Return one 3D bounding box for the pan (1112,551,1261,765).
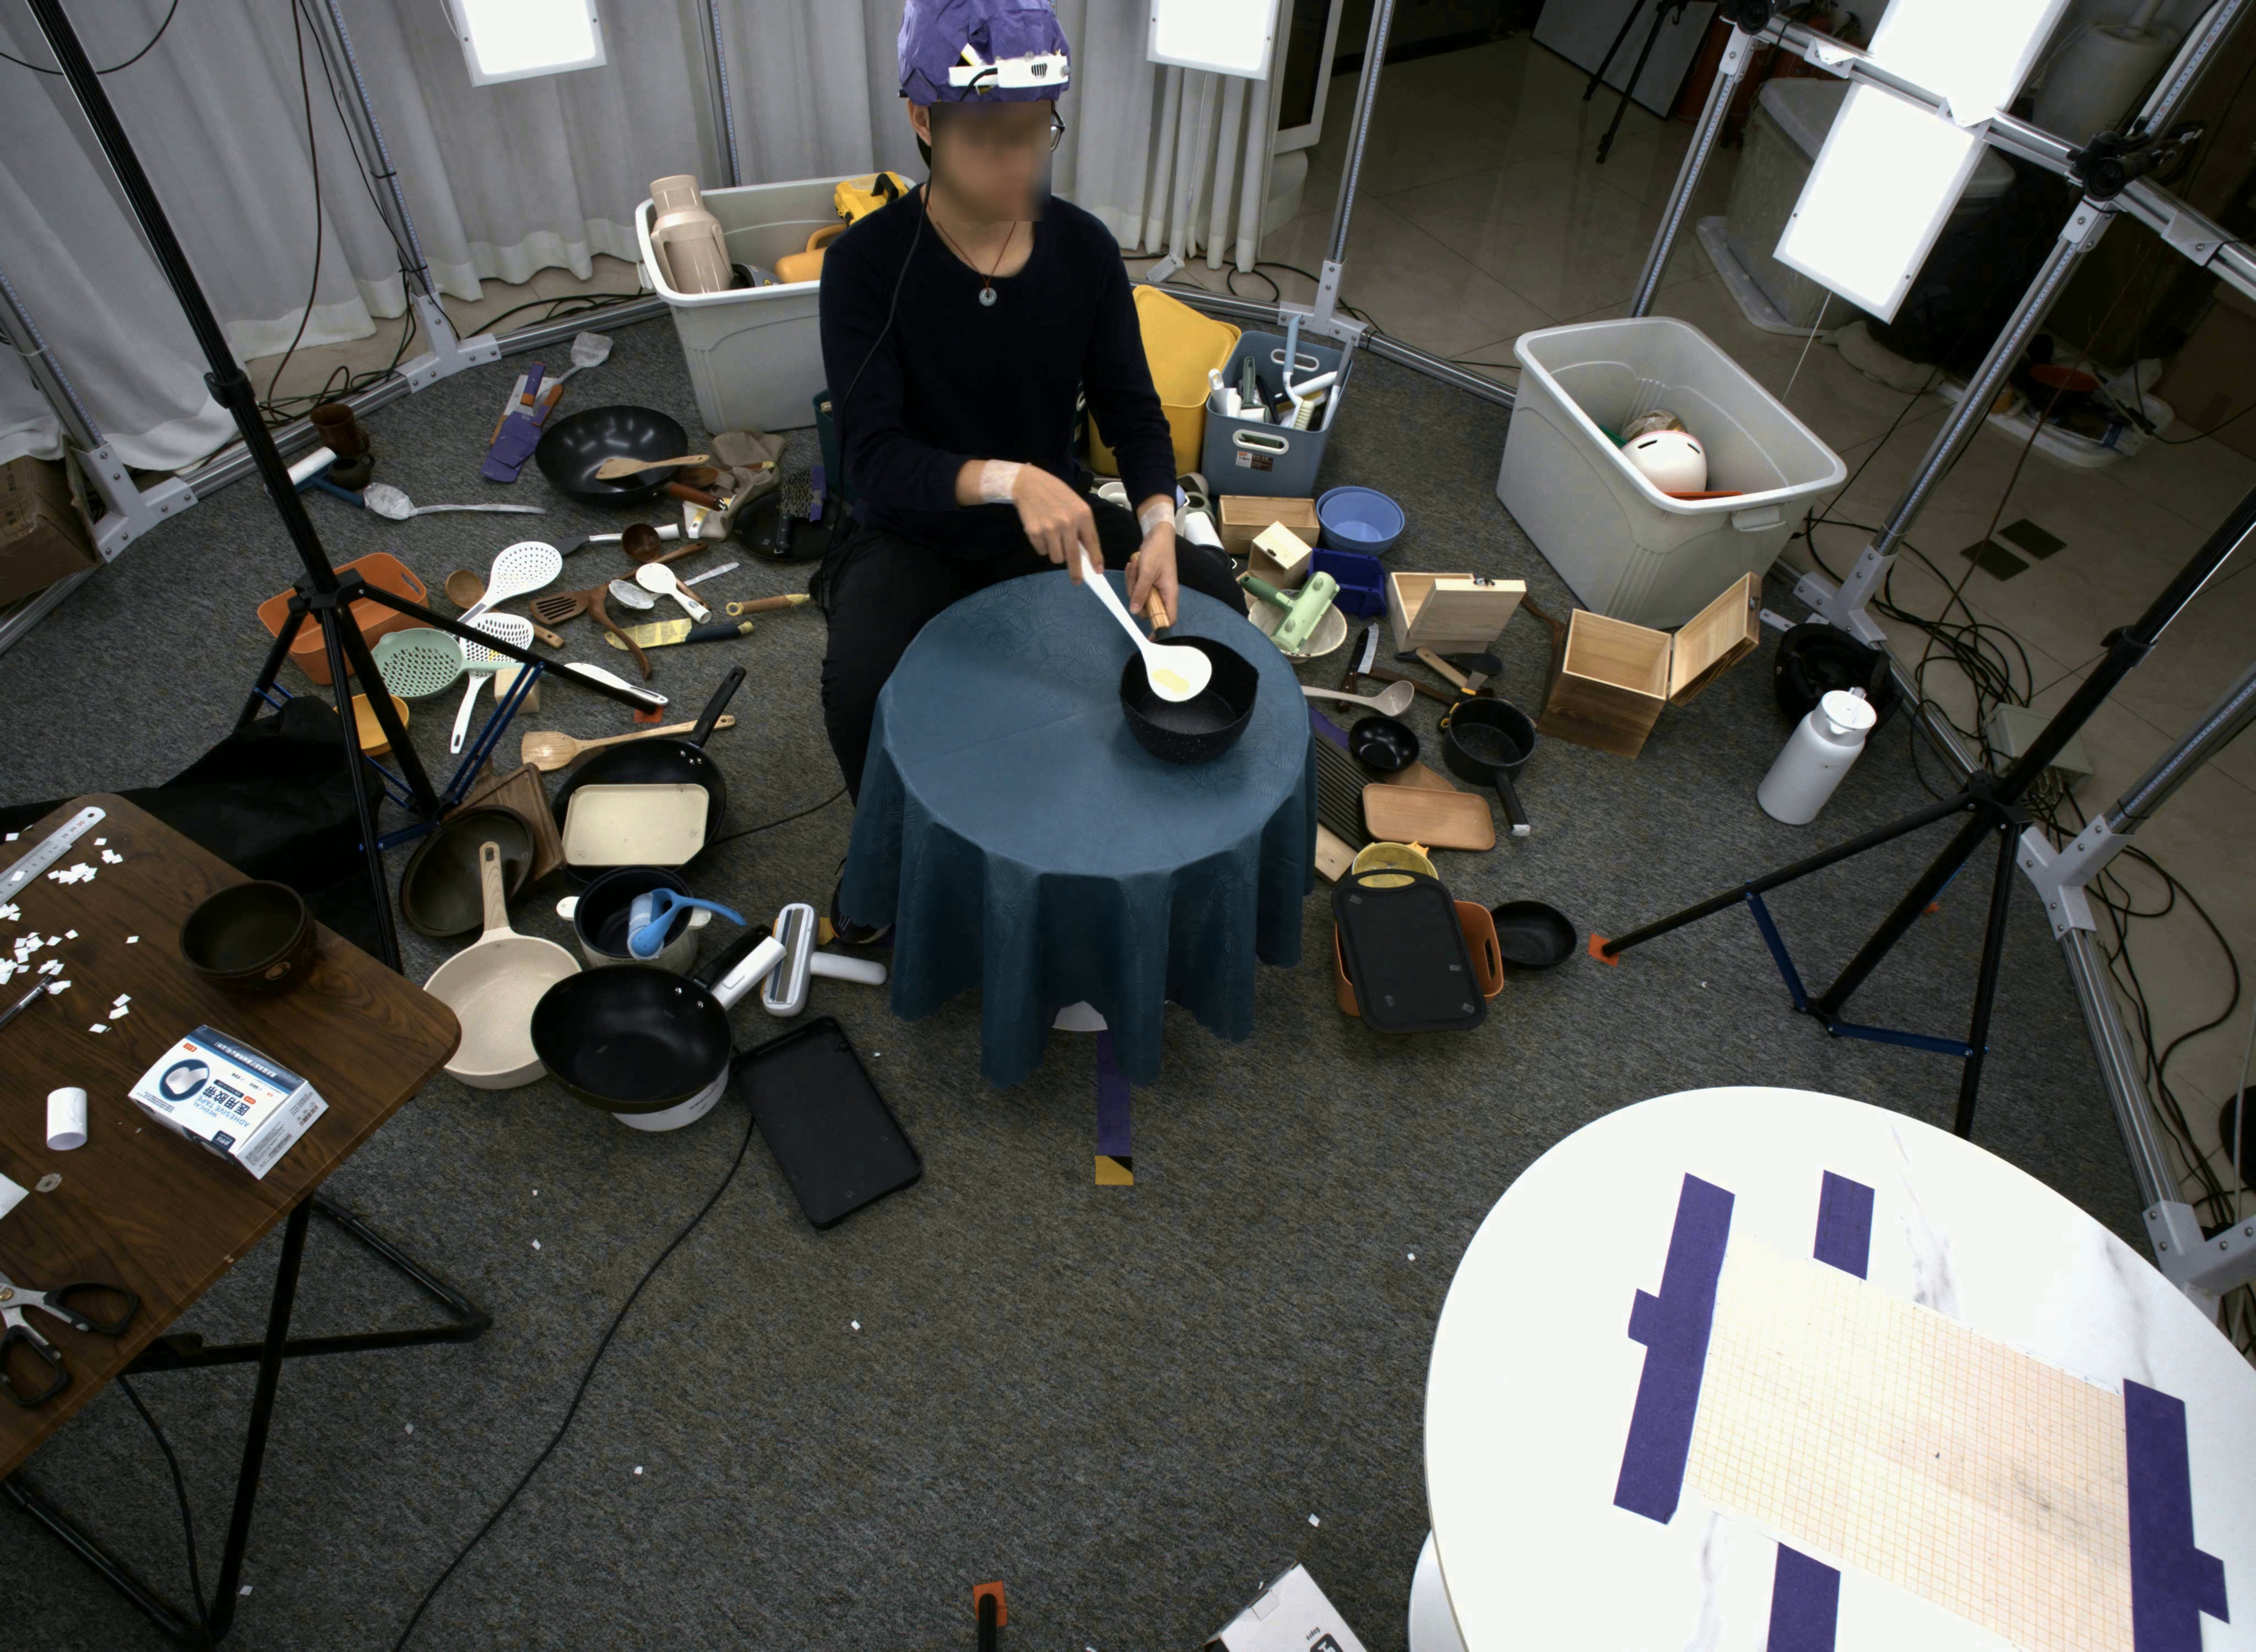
[{"bbox_3d":[0.058,-0.236,1.803,0.207,0.105,0.351,-12,54,-12],"label":"pan"}]

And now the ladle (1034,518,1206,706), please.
[{"bbox_3d":[-0.014,-0.283,1.686,0.090,0.070,0.290,-43,105,-11],"label":"ladle"}]
